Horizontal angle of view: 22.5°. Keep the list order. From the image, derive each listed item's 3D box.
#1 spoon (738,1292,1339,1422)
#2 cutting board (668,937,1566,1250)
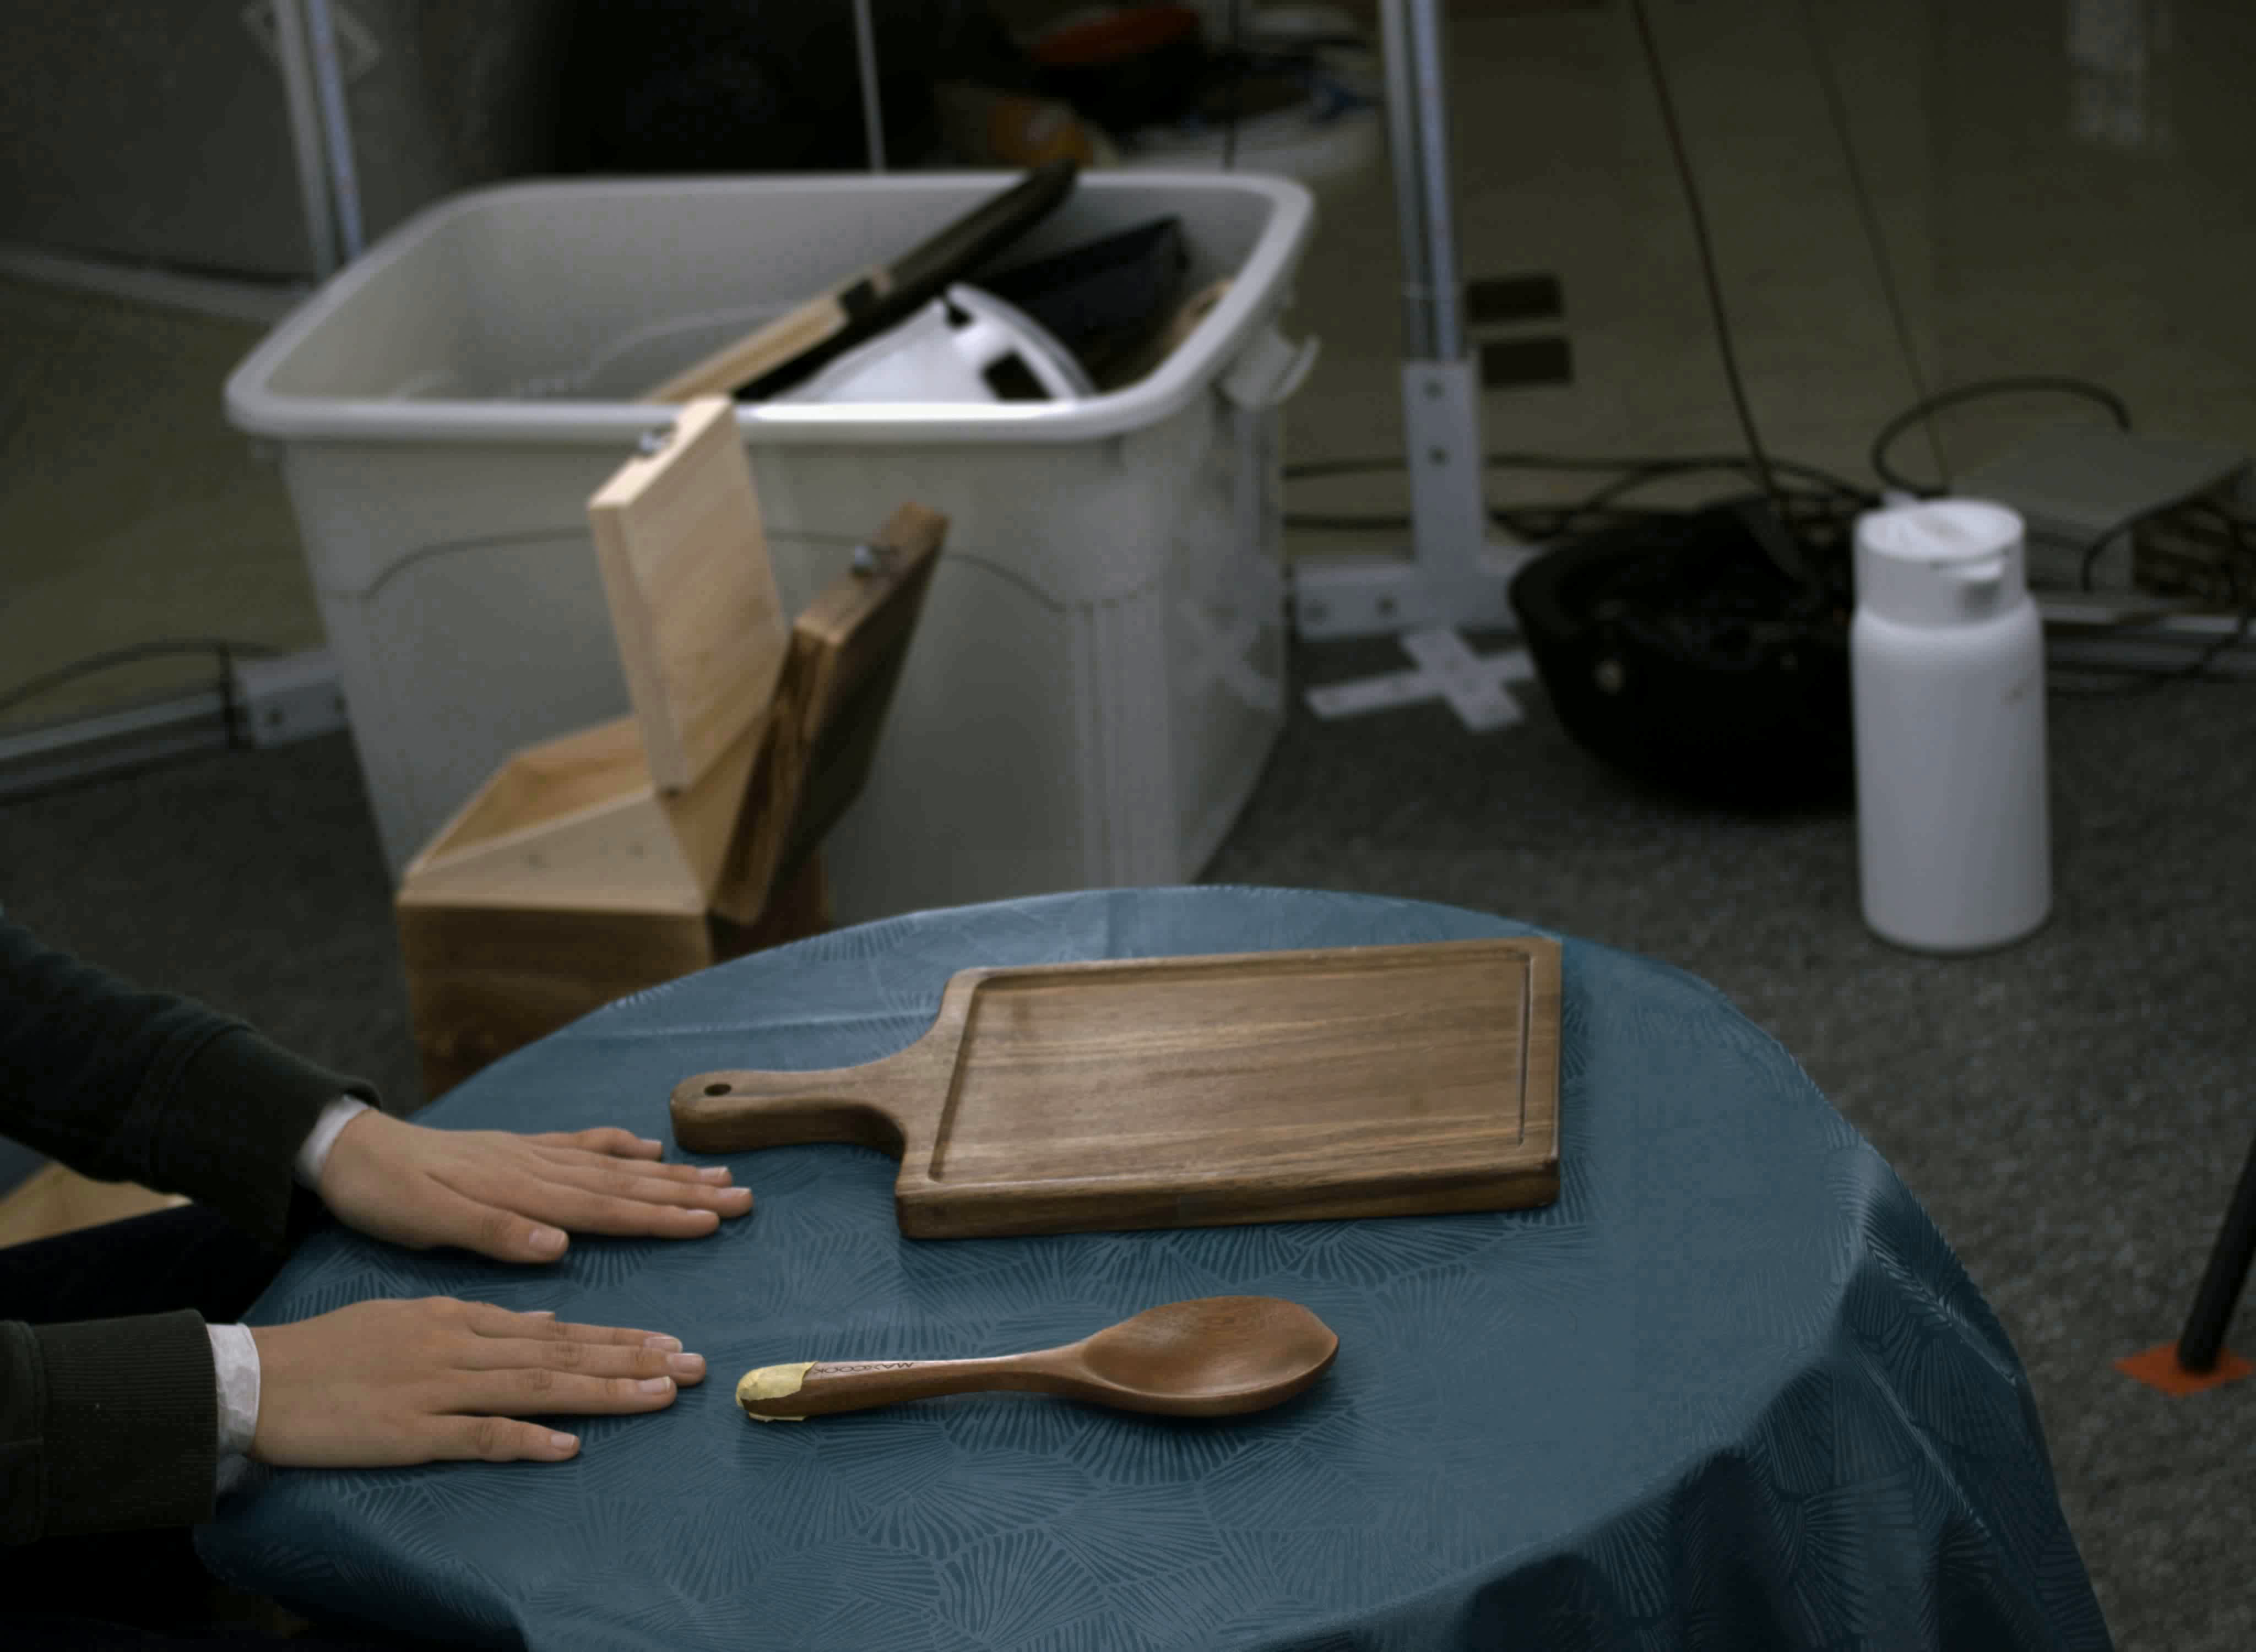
[{"bbox_3d":[-0.032,0.194,2.020,0.215,0.017,0.074,-3,27,5],"label":"spoon"},{"bbox_3d":[-0.005,0.105,2.208,0.351,0.023,0.198,-4,26,7],"label":"cutting board"}]
